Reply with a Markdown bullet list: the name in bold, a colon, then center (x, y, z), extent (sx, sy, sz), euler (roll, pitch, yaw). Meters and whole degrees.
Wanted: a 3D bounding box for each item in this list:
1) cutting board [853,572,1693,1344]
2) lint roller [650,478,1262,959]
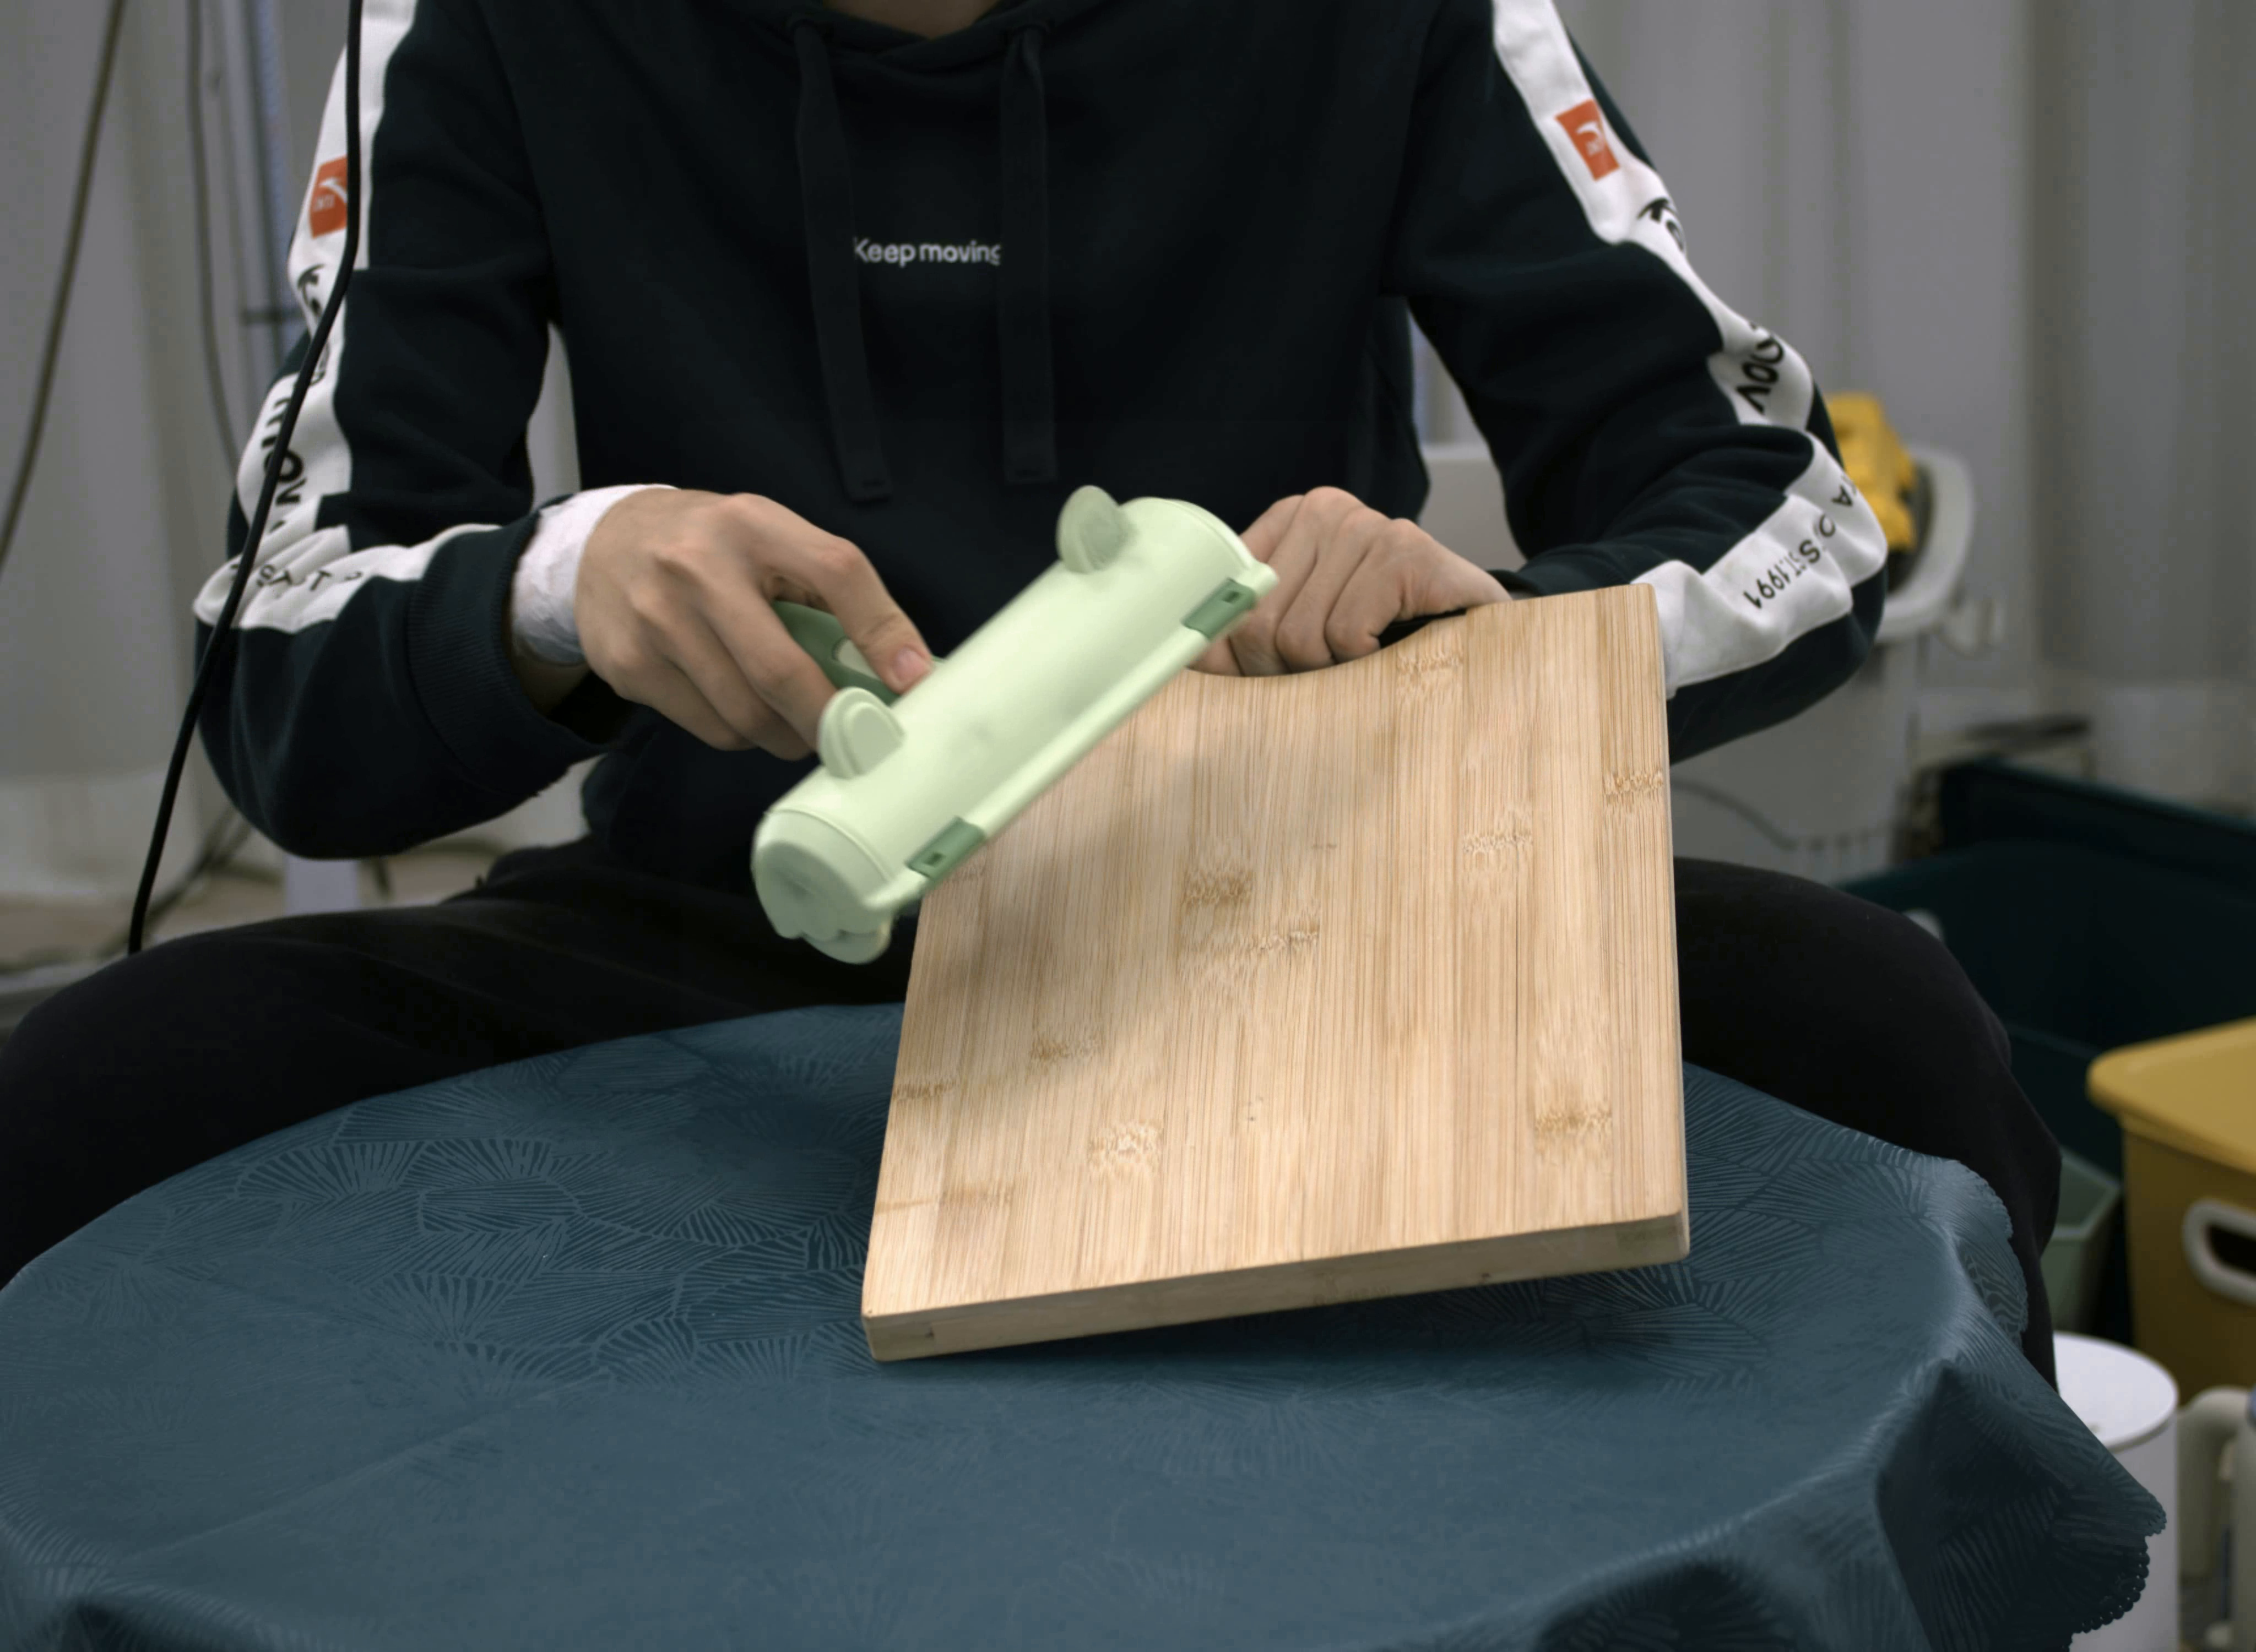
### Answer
- **cutting board**: center (0.051, 0.036, 1.702), extent (0.250, 0.023, 0.353), euler (-8, 33, 8)
- **lint roller**: center (-0.084, -0.058, 1.715), extent (0.184, 0.081, 0.199), euler (24, 49, 31)
